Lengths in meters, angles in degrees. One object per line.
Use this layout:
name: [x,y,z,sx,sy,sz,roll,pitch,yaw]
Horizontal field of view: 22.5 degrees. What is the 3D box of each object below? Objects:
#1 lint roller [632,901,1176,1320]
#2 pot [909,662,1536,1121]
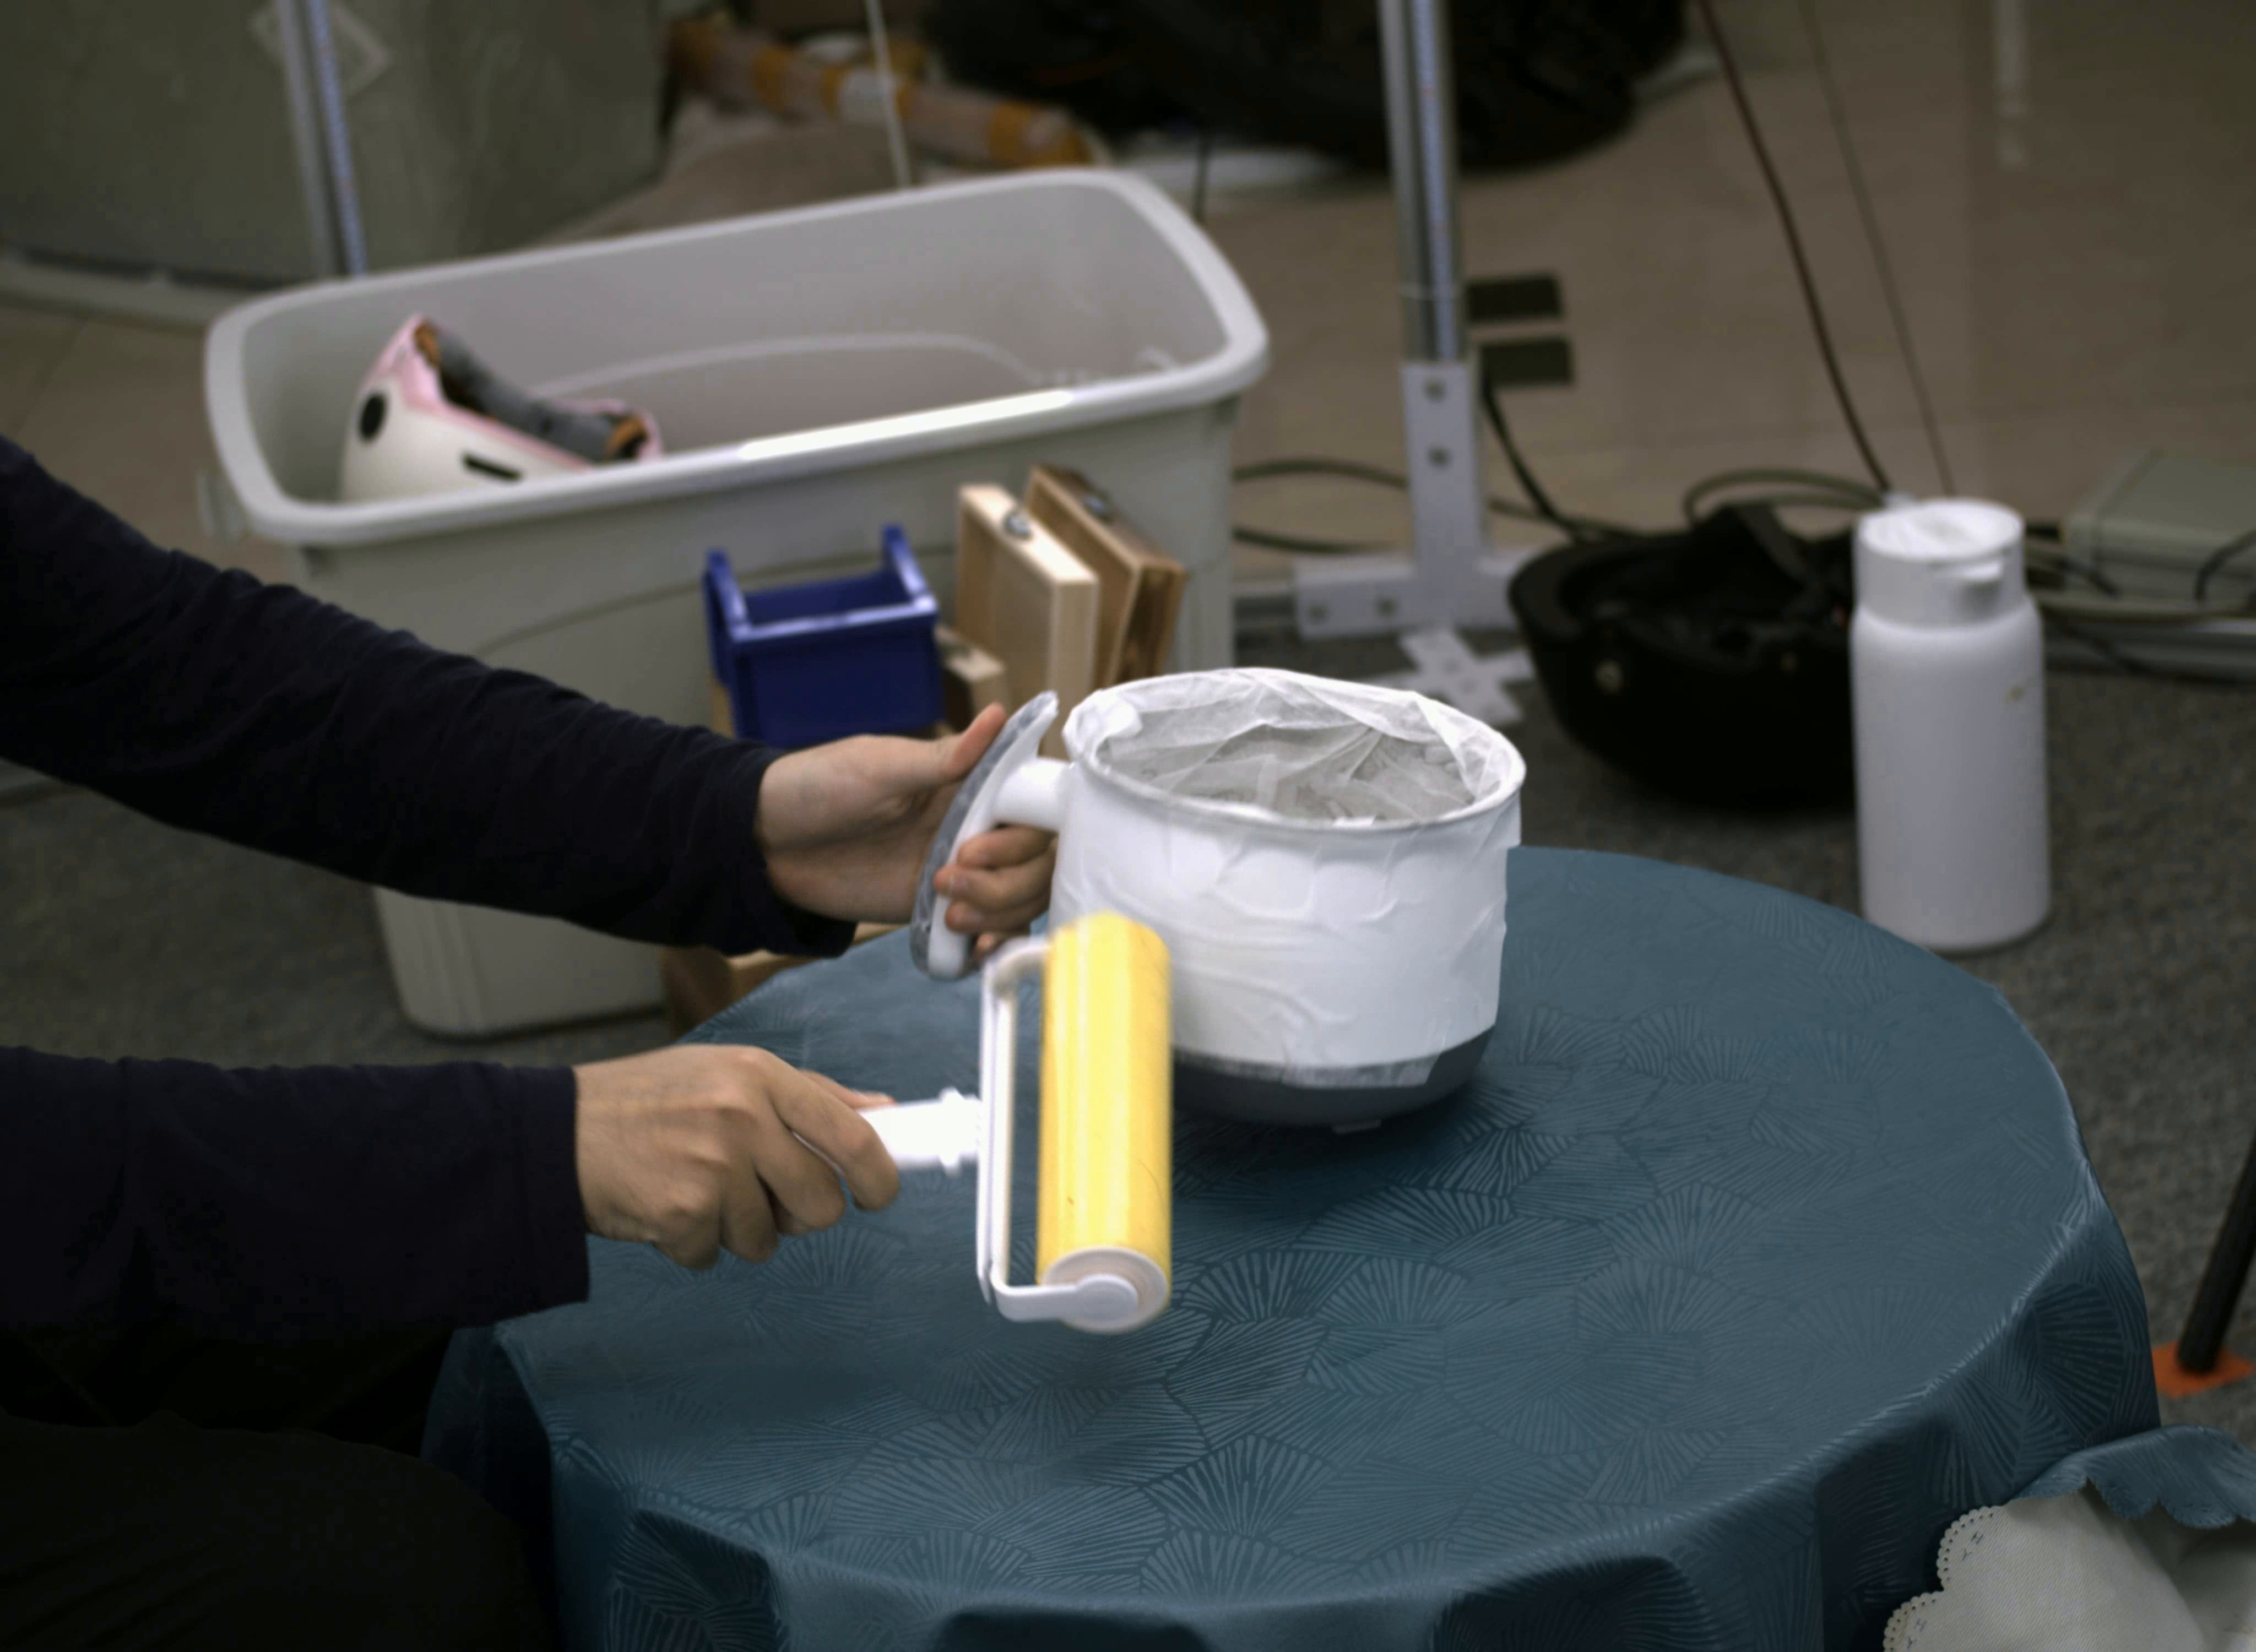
lint roller: [-0.082,0.104,2.027,0.192,0.052,0.171,-2,47,-2]
pot: [0.033,0.019,2.182,0.233,0.138,0.177,11,18,9]
